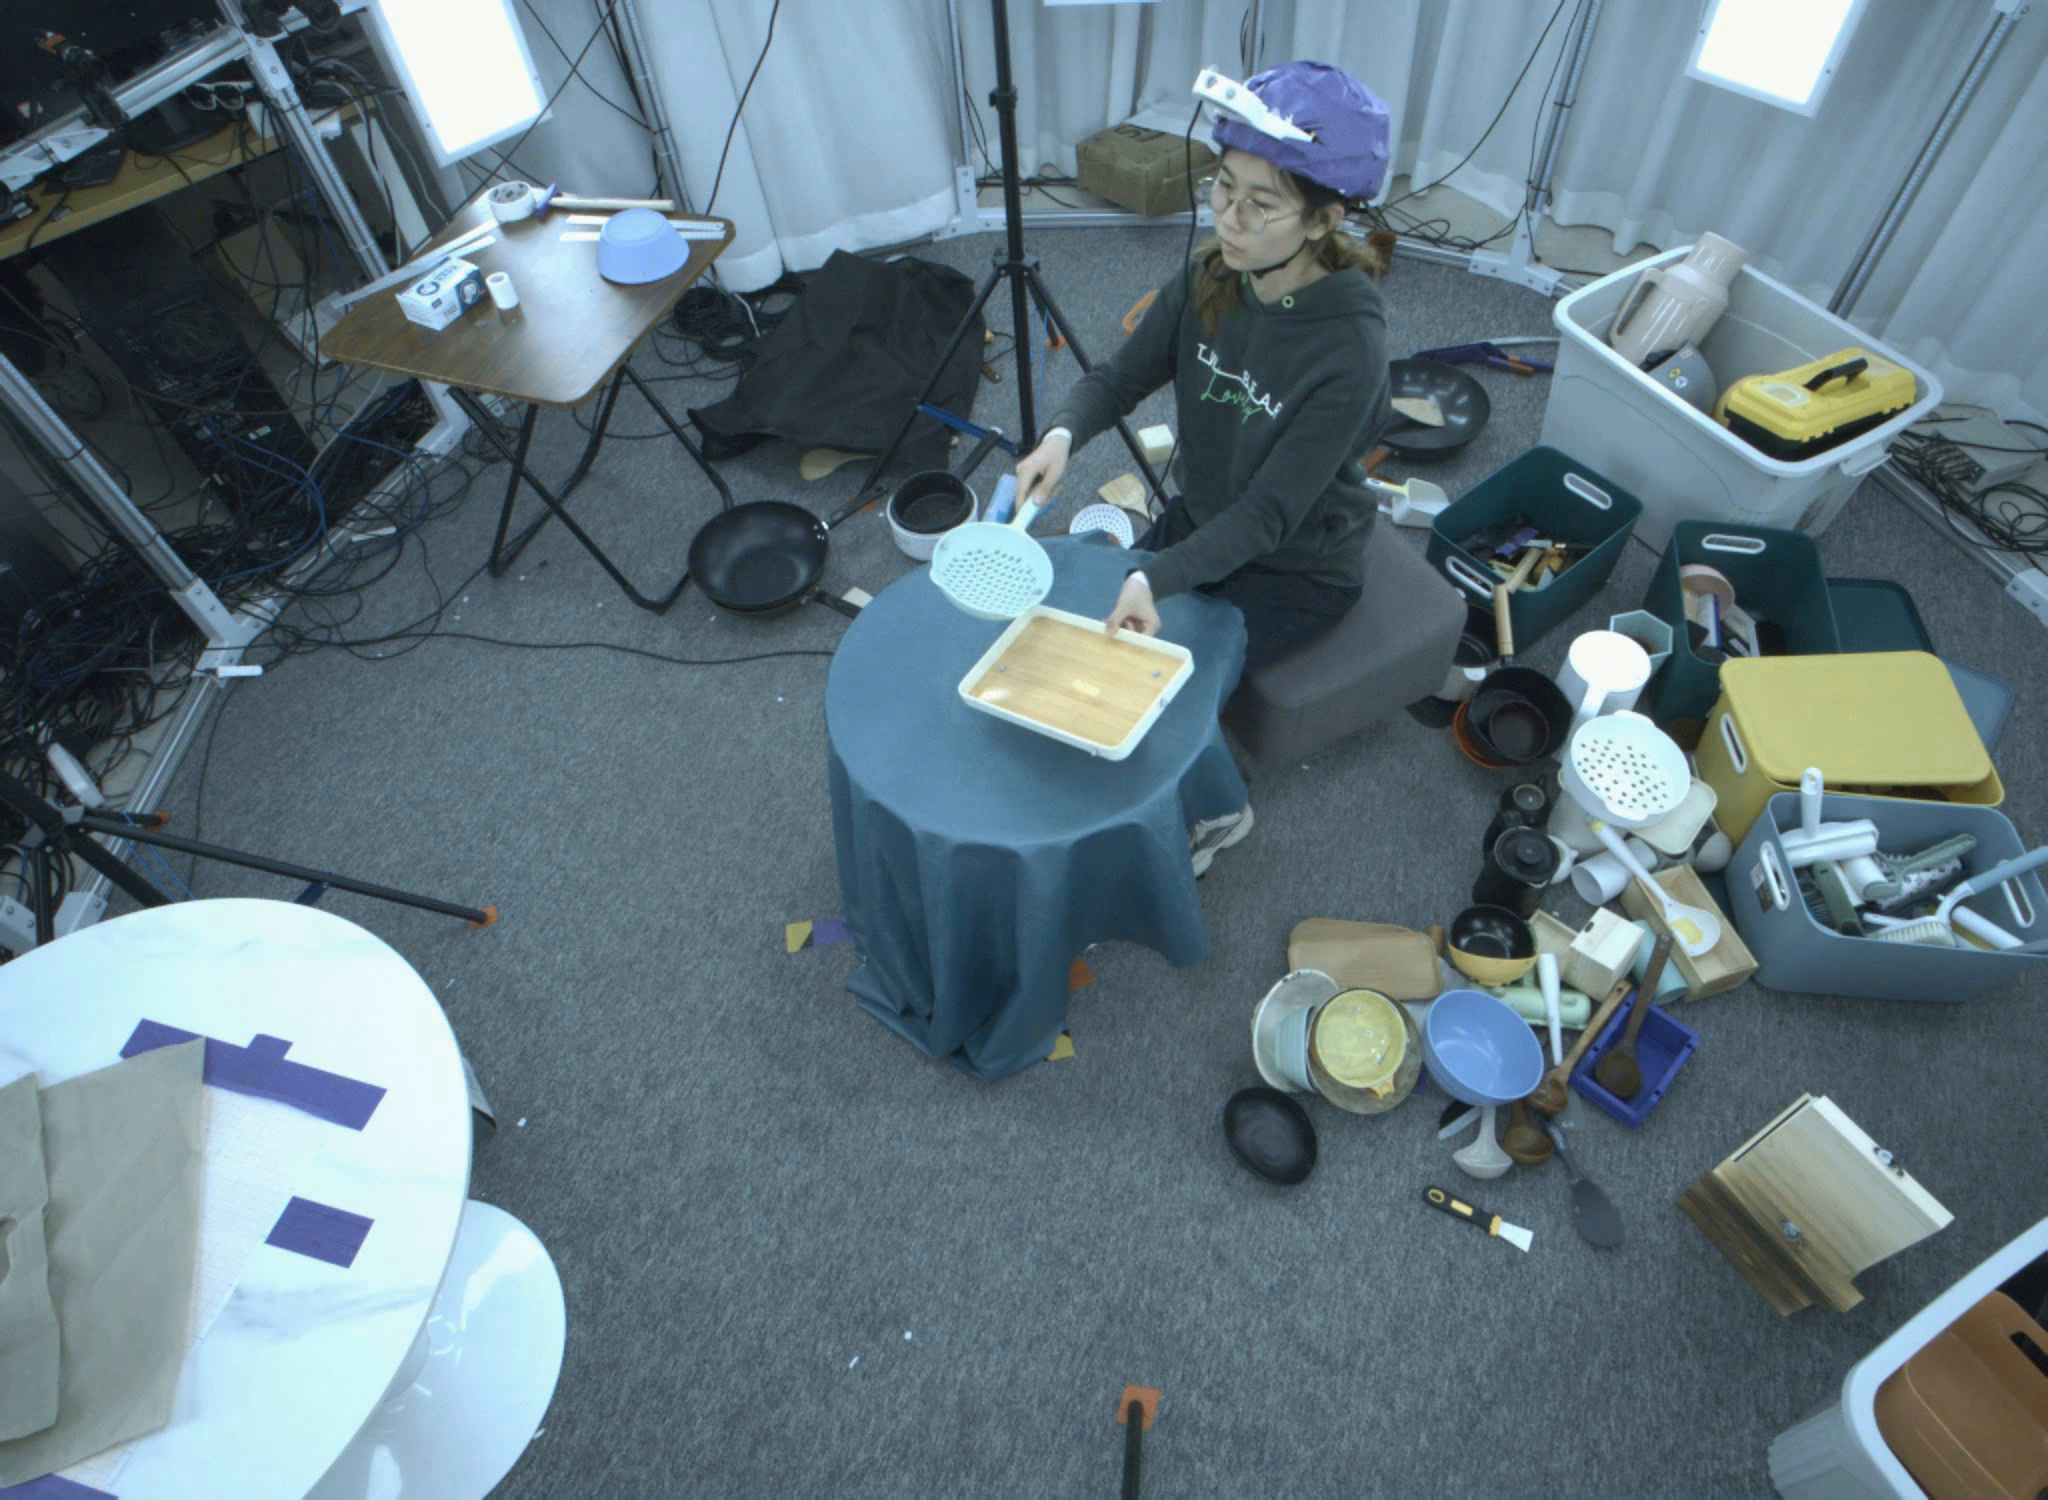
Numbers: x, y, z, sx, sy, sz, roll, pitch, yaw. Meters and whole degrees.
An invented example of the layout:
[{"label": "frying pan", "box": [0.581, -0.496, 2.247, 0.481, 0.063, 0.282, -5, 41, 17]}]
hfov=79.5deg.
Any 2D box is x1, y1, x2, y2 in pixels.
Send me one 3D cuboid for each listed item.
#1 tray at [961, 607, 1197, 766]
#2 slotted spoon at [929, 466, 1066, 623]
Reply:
[{"label": "tray", "box": [0.073, -0.094, 1.712, 0.293, 0.028, 0.192, 23, 64, 35]}, {"label": "slotted spoon", "box": [-0.011, -0.313, 1.764, 0.169, 0.075, 0.359, 26, 61, 1]}]
